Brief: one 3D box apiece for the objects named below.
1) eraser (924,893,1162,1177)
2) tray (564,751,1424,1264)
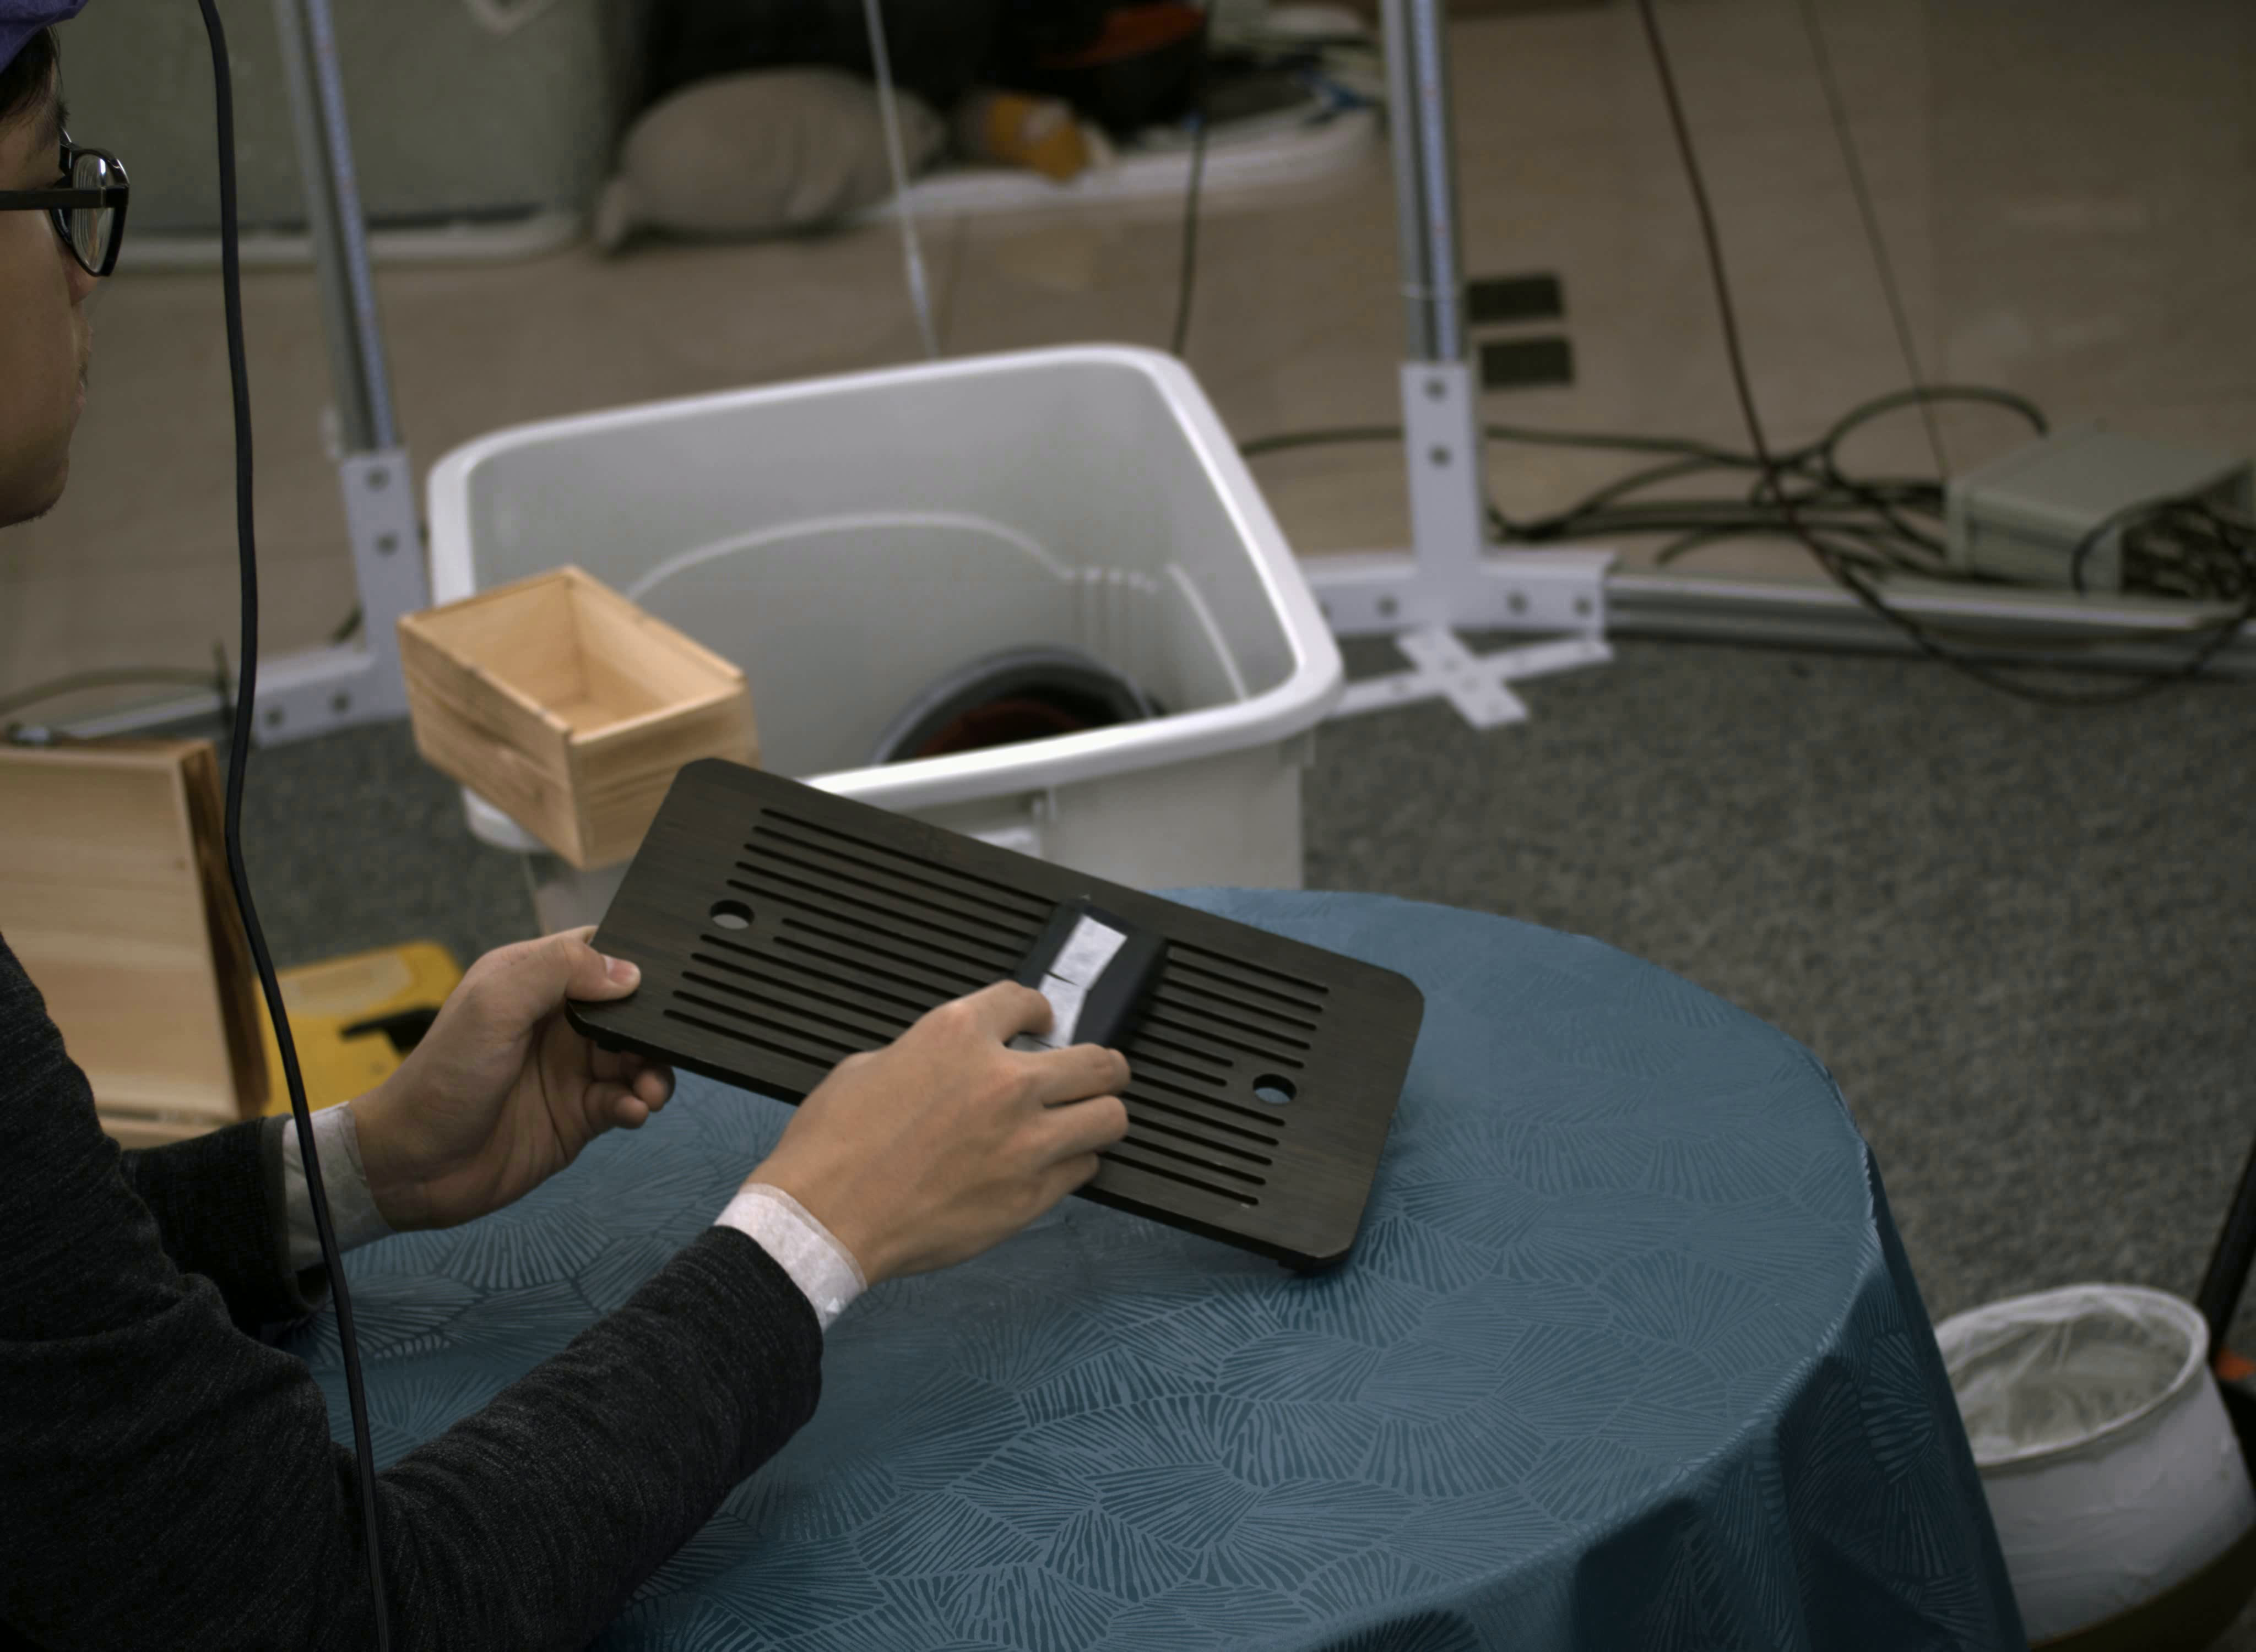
[{"bbox_3d":[-0.032,0.076,2.104,0.053,0.031,0.123,19,42,8],"label":"eraser"},{"bbox_3d":[-0.048,0.068,2.141,0.305,0.019,0.167,18,40,2],"label":"tray"}]
